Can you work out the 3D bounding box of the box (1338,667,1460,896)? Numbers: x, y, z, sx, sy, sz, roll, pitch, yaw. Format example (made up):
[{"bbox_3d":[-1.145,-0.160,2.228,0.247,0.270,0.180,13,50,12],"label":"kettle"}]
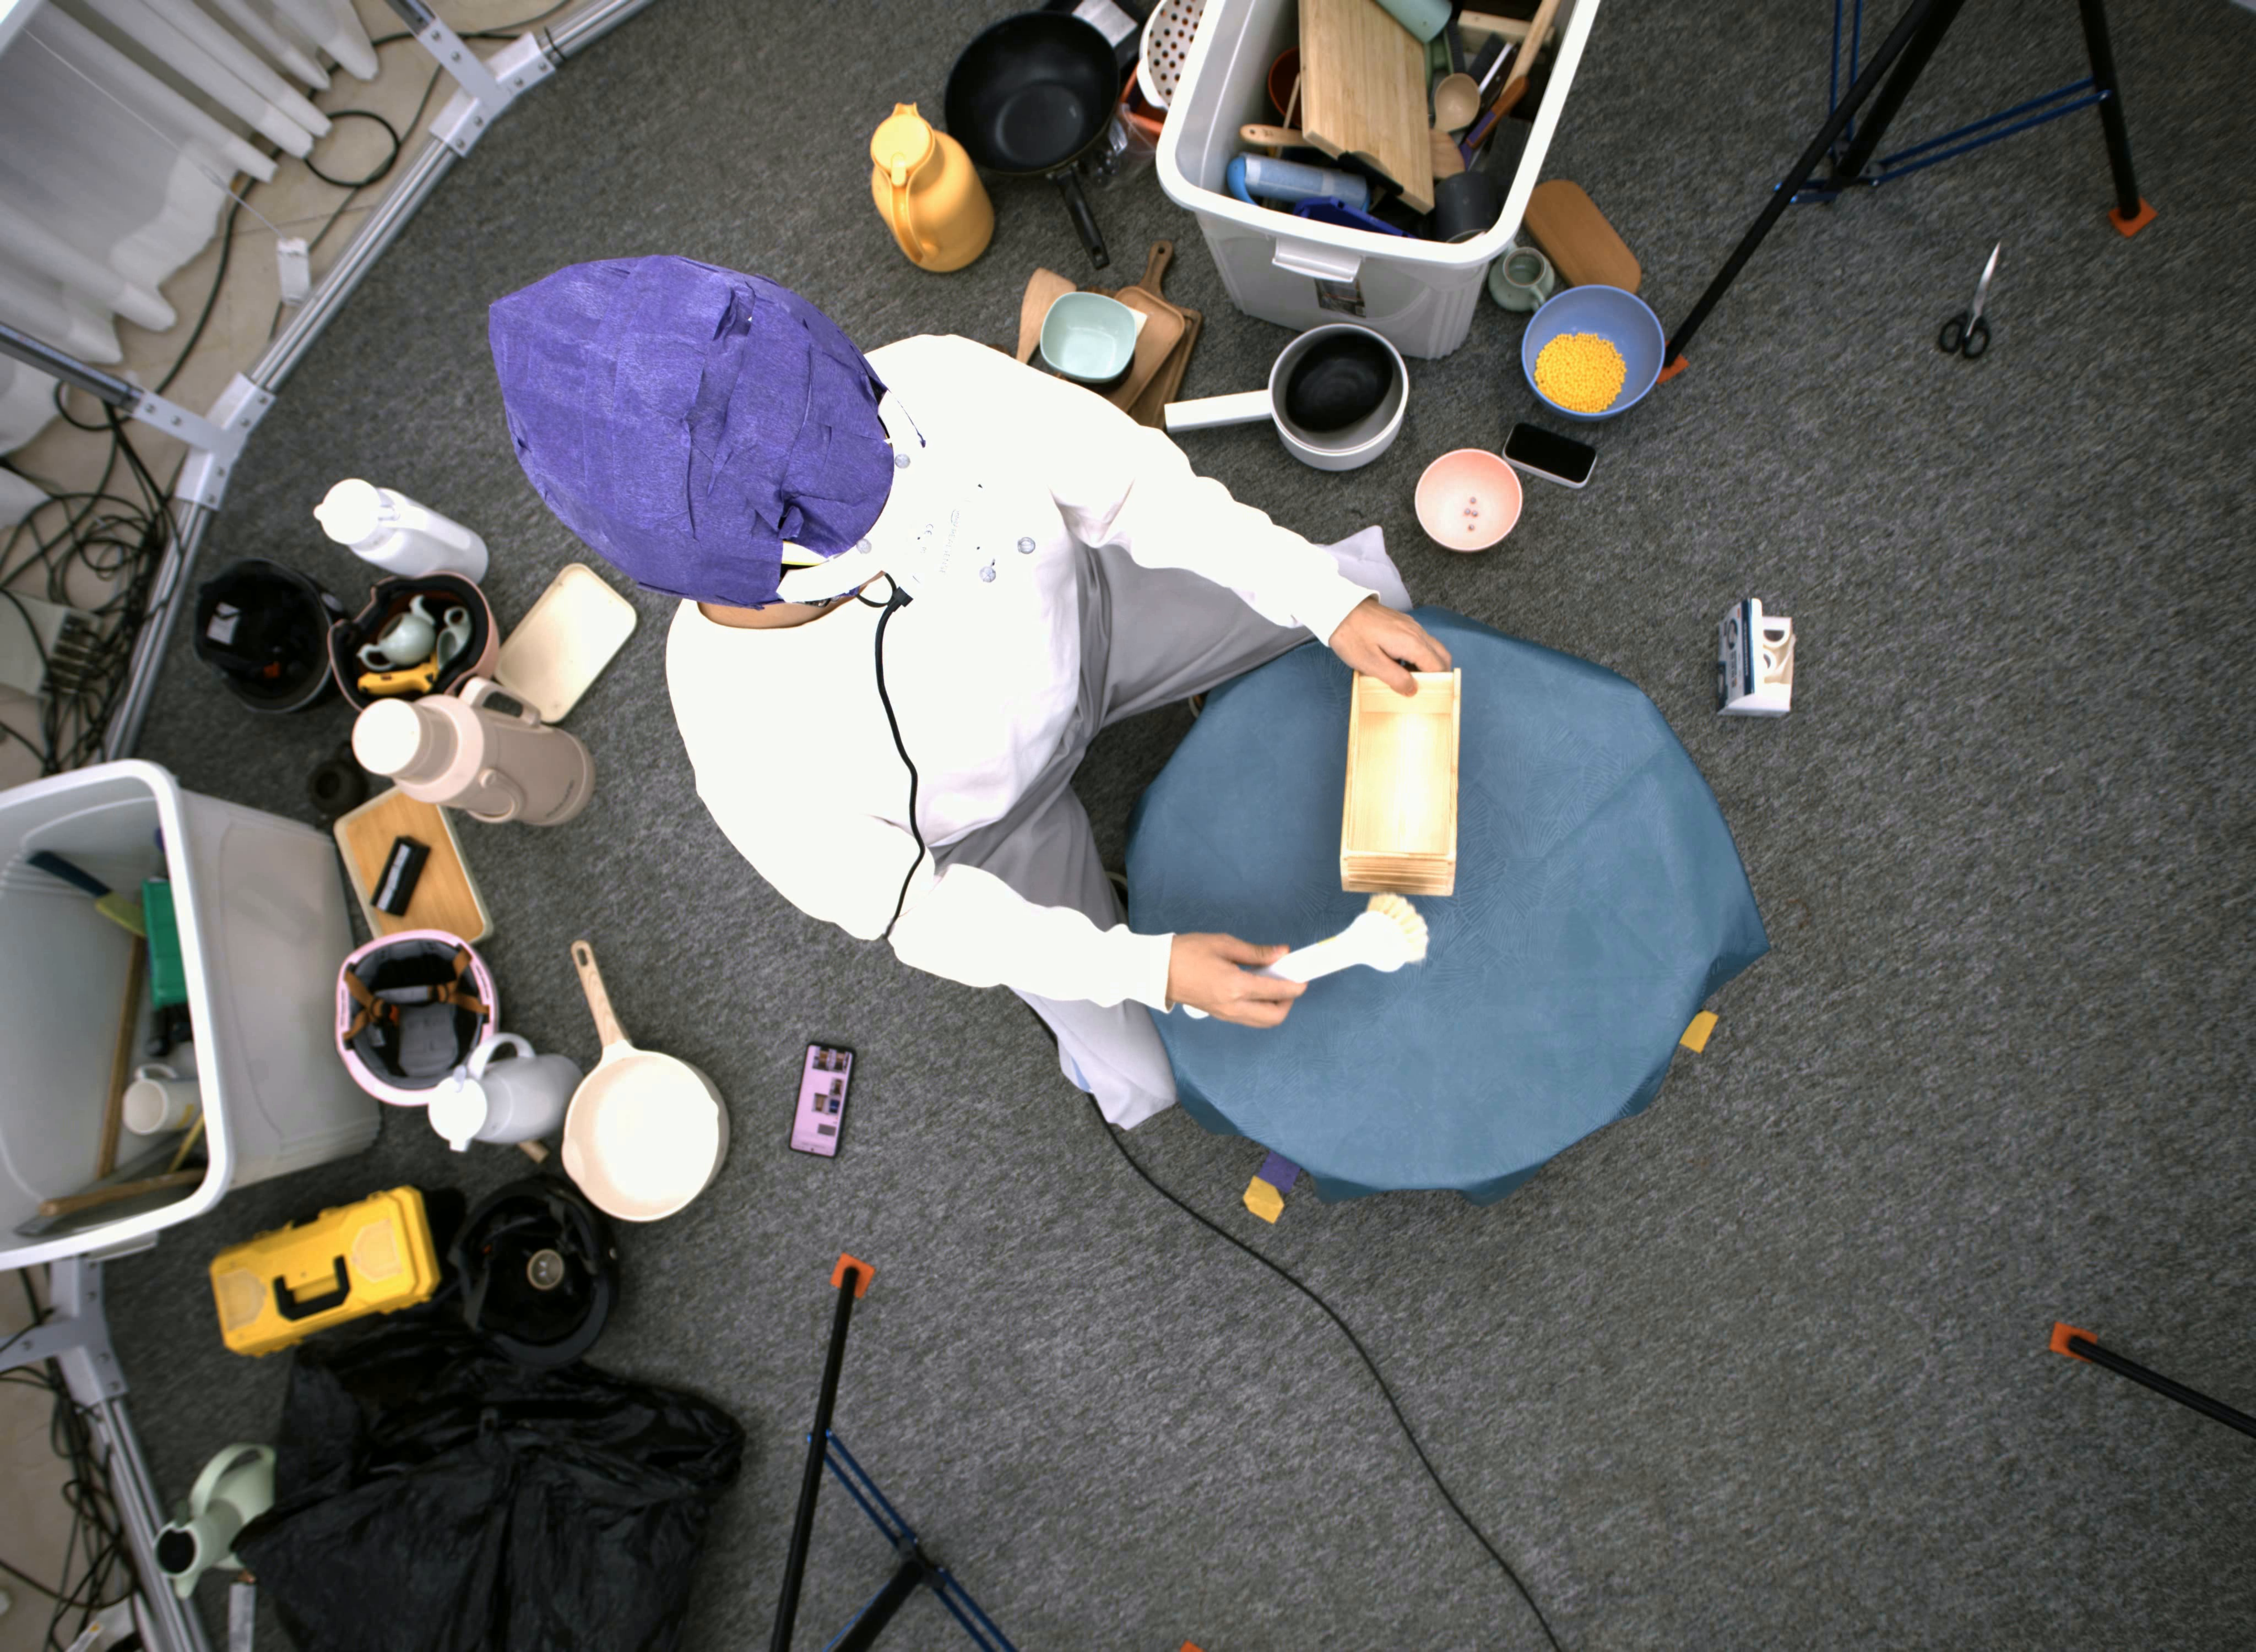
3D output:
[{"bbox_3d":[0.267,-0.046,1.341,0.108,0.081,0.207,2,66,13],"label":"box"}]

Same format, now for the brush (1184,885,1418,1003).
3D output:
[{"bbox_3d":[0.166,0.123,1.358,0.271,0.055,0.068,-25,85,41],"label":"brush"}]
